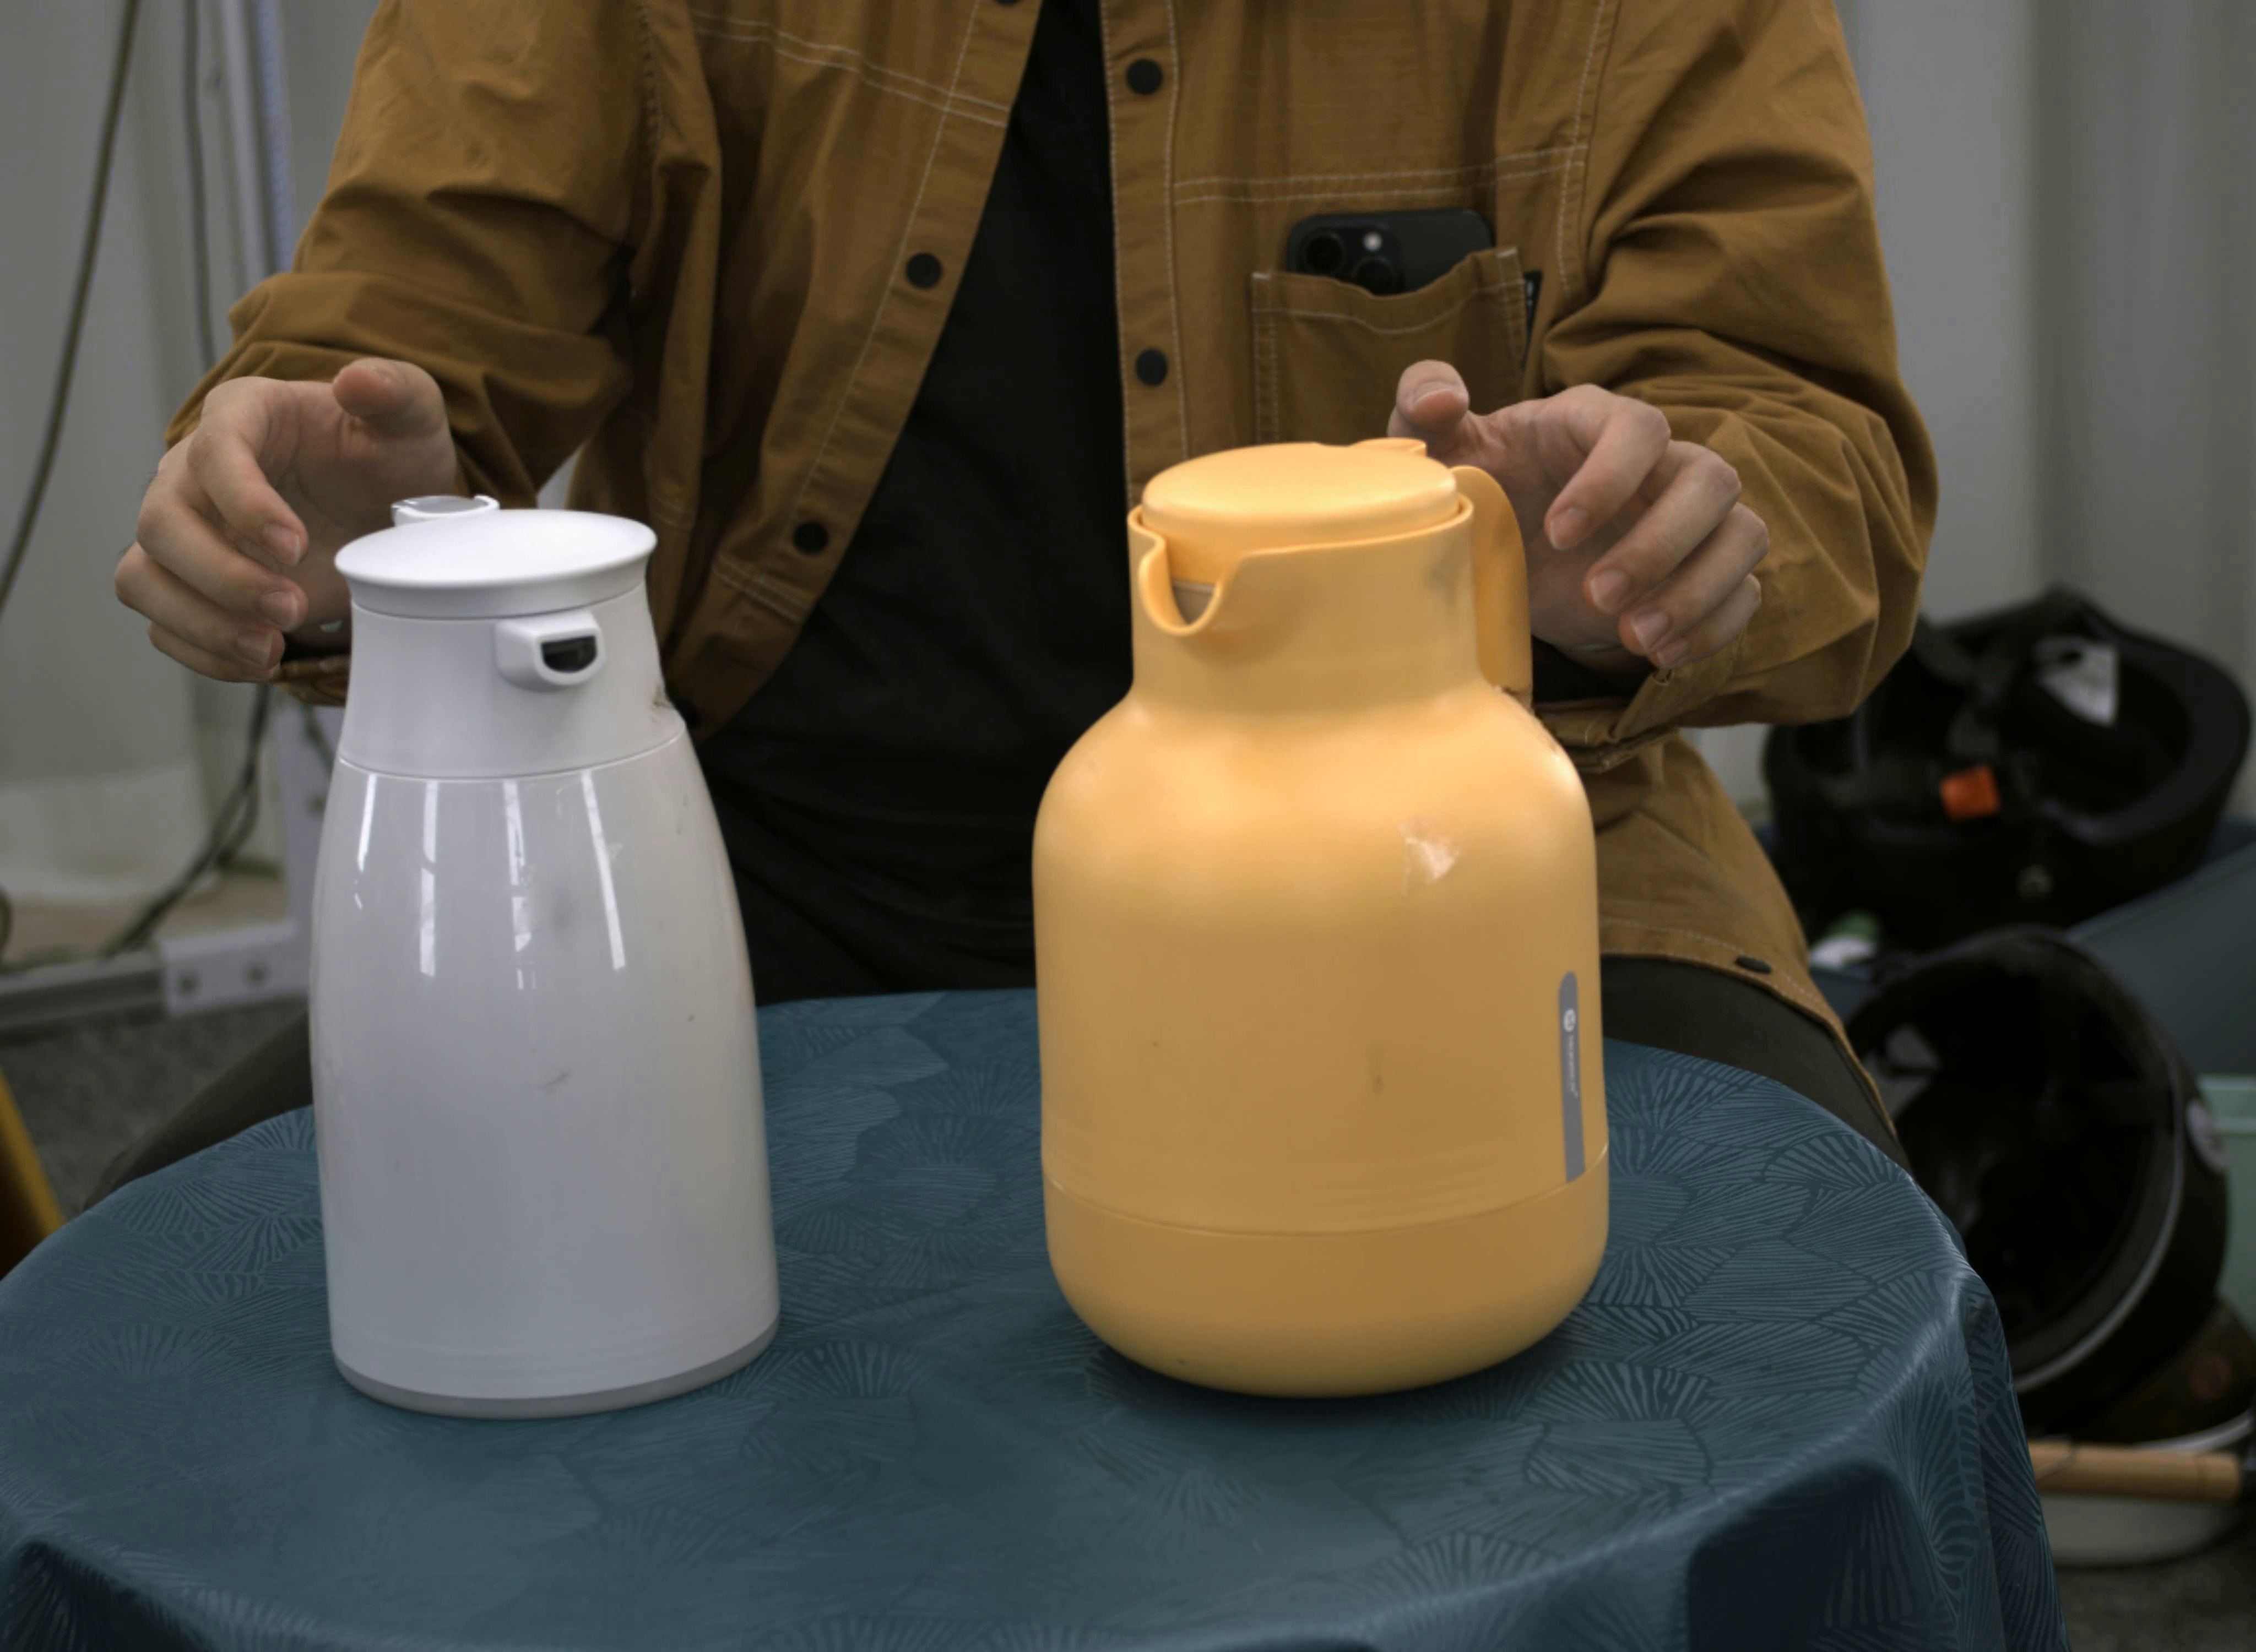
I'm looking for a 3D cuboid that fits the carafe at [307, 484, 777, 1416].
[{"bbox_3d":[-0.182,0.027,1.595,0.132,0.248,0.169,-9,14,-23],"label":"carafe"}]

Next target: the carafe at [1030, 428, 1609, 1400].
[{"bbox_3d":[0.064,0.017,1.566,0.164,0.259,0.202,8,19,30],"label":"carafe"}]
